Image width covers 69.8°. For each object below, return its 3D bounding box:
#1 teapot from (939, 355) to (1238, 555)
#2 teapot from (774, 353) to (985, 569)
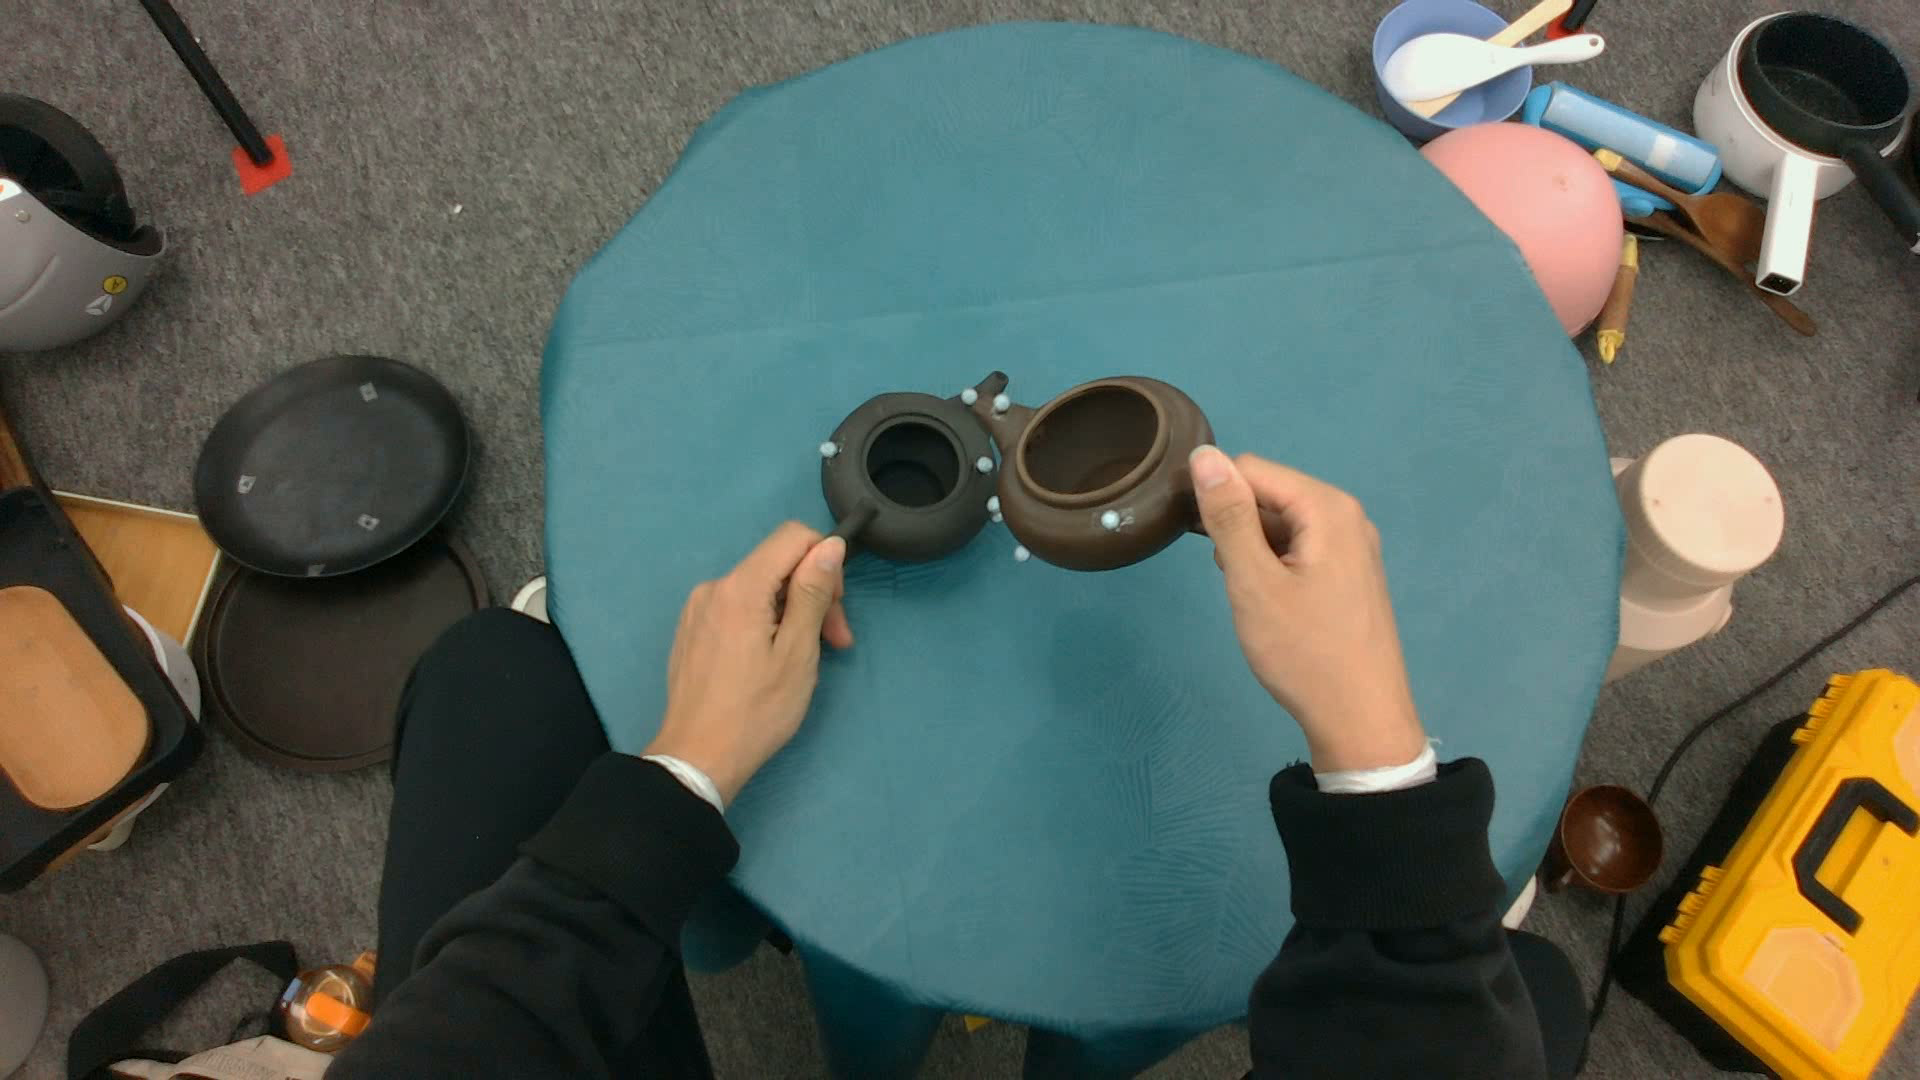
[{"bbox_3d":[0.057,-0.040,0.624,0.153,0.054,0.103,13,64,38],"label":"teapot"},{"bbox_3d":[-0.040,-0.039,0.716,0.092,0.064,0.155,41,69,8],"label":"teapot"}]
